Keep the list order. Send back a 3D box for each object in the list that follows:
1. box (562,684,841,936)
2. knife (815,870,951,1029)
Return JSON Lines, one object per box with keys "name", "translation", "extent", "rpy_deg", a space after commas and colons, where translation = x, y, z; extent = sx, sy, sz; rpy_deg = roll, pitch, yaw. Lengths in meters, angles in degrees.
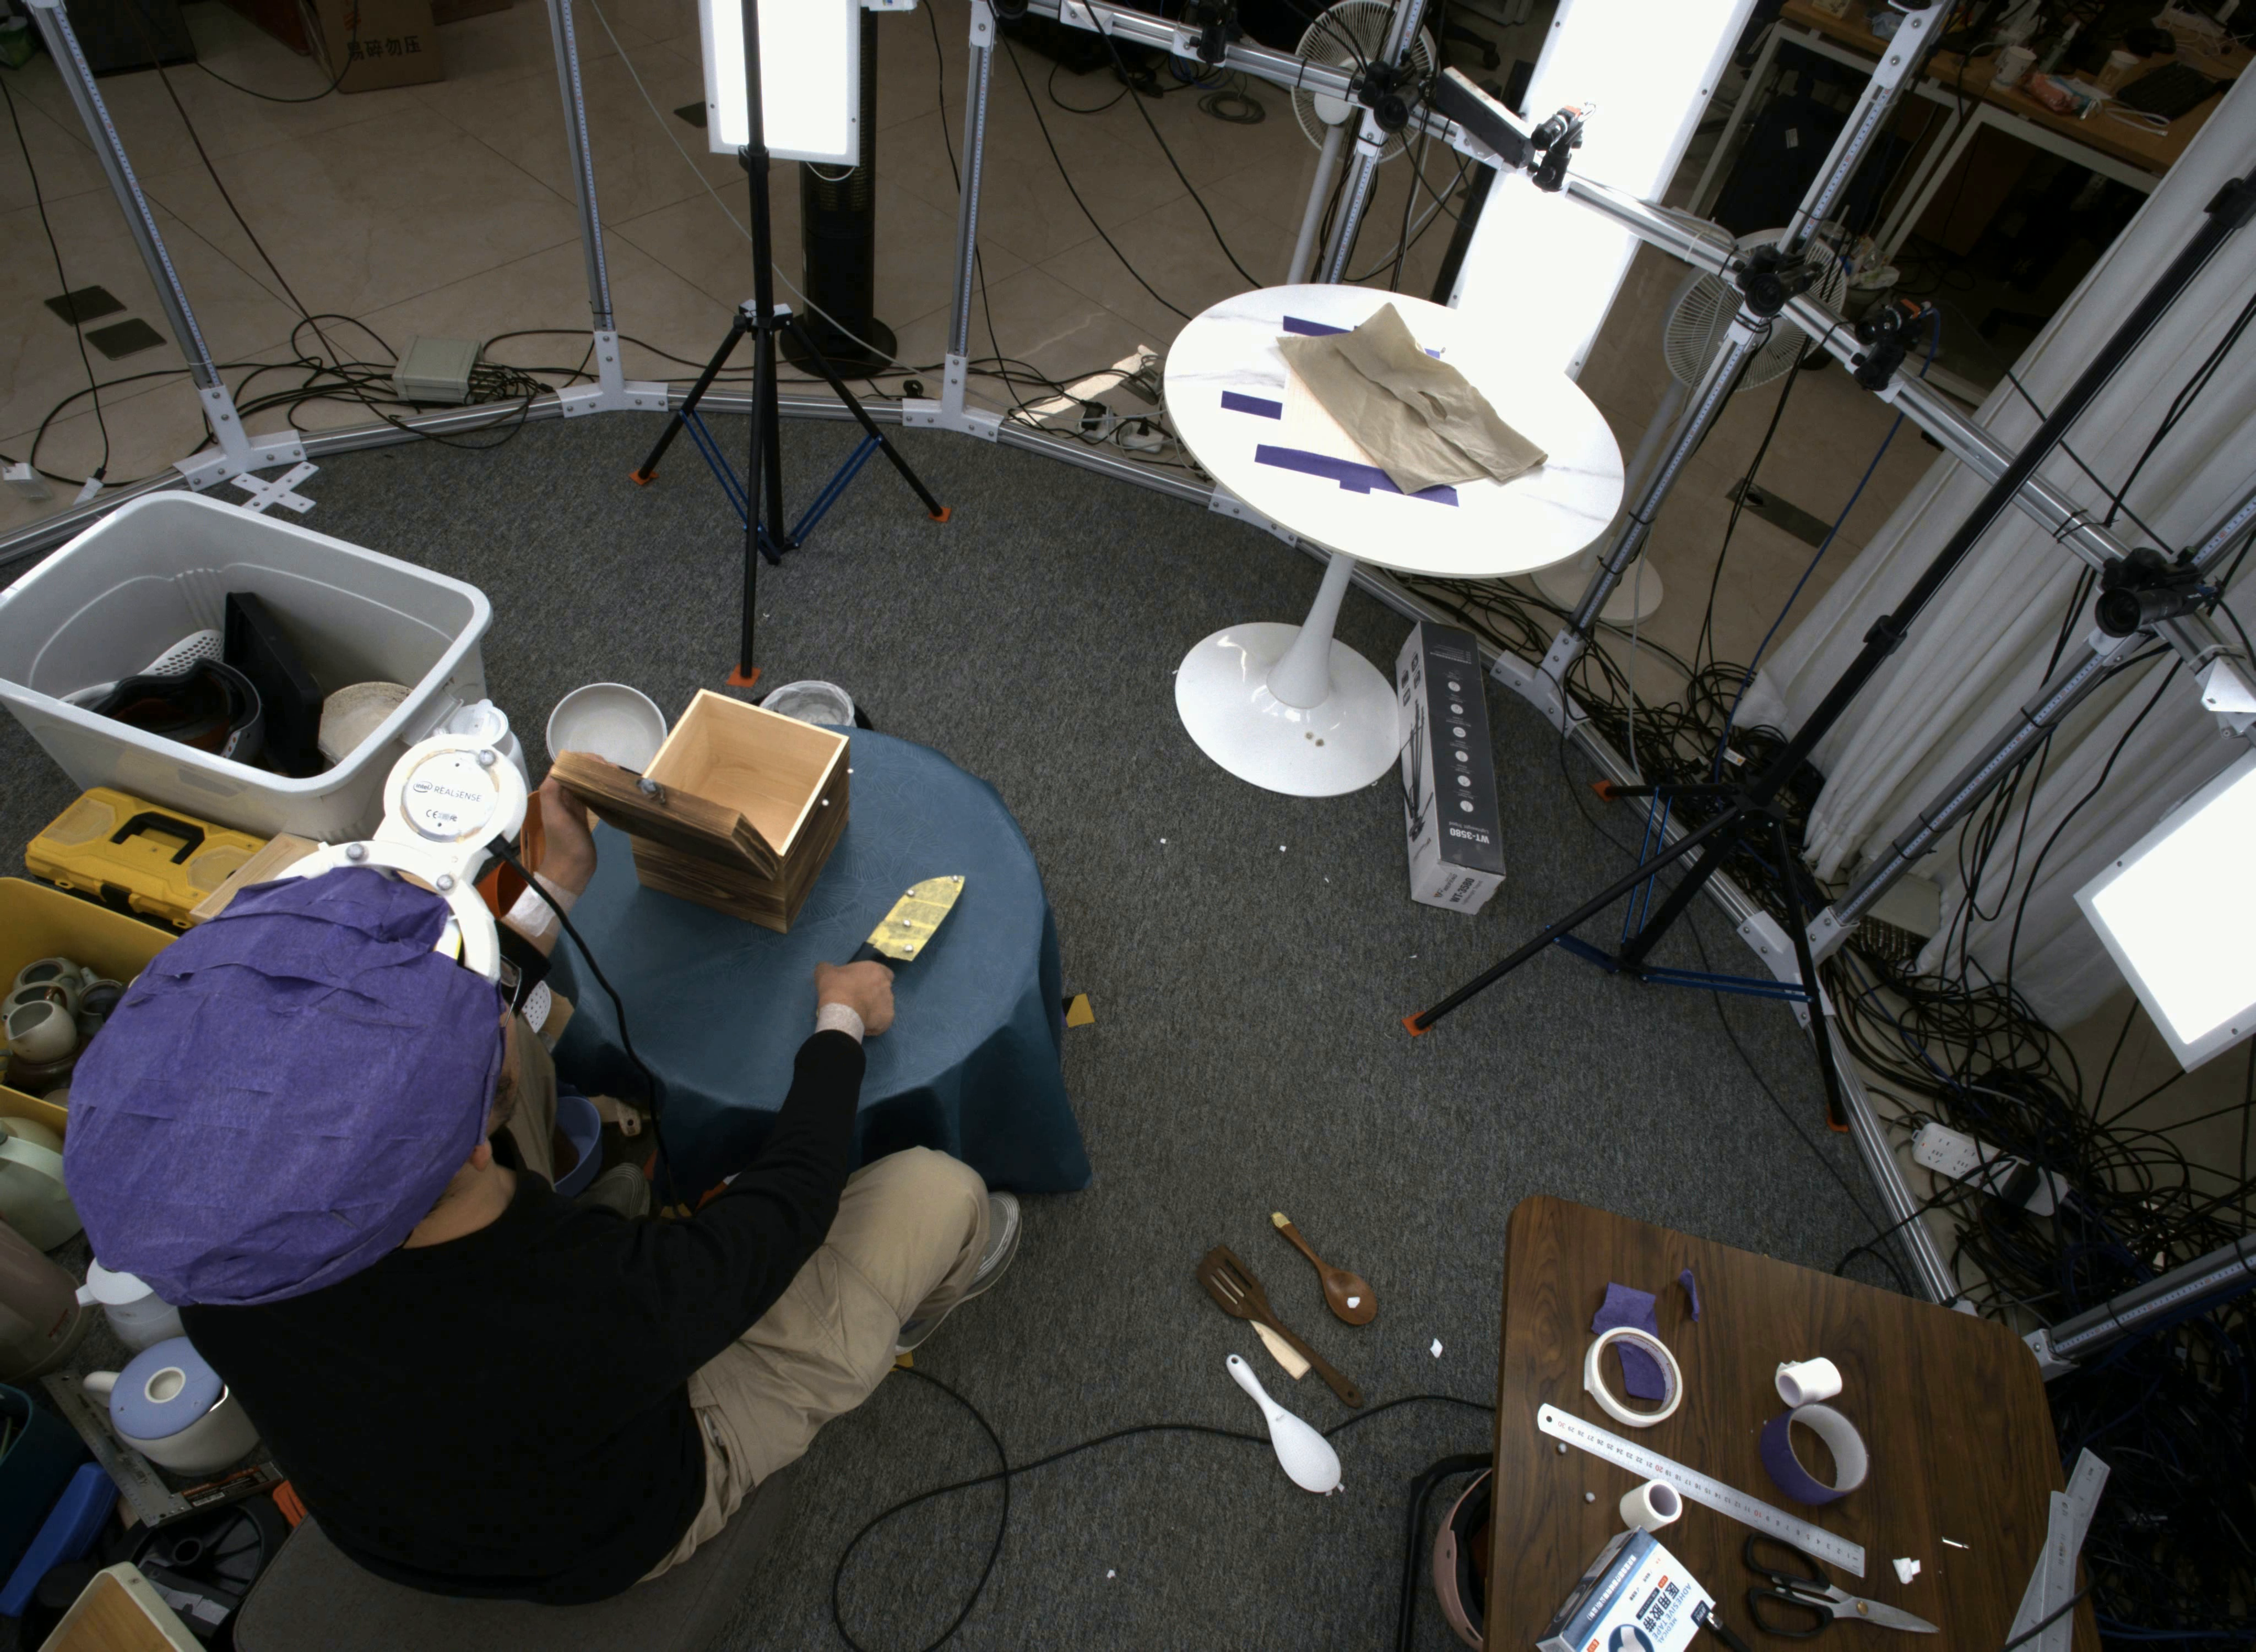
{"name": "box", "translation": [-0.484, -0.041, 1.501], "extent": [0.207, 0.383, 0.318], "rpy_deg": [17, 52, 0]}
{"name": "knife", "translation": [-0.298, 0.144, 1.611], "extent": [0.078, 0.028, 0.287], "rpy_deg": [9, 41, 21]}
